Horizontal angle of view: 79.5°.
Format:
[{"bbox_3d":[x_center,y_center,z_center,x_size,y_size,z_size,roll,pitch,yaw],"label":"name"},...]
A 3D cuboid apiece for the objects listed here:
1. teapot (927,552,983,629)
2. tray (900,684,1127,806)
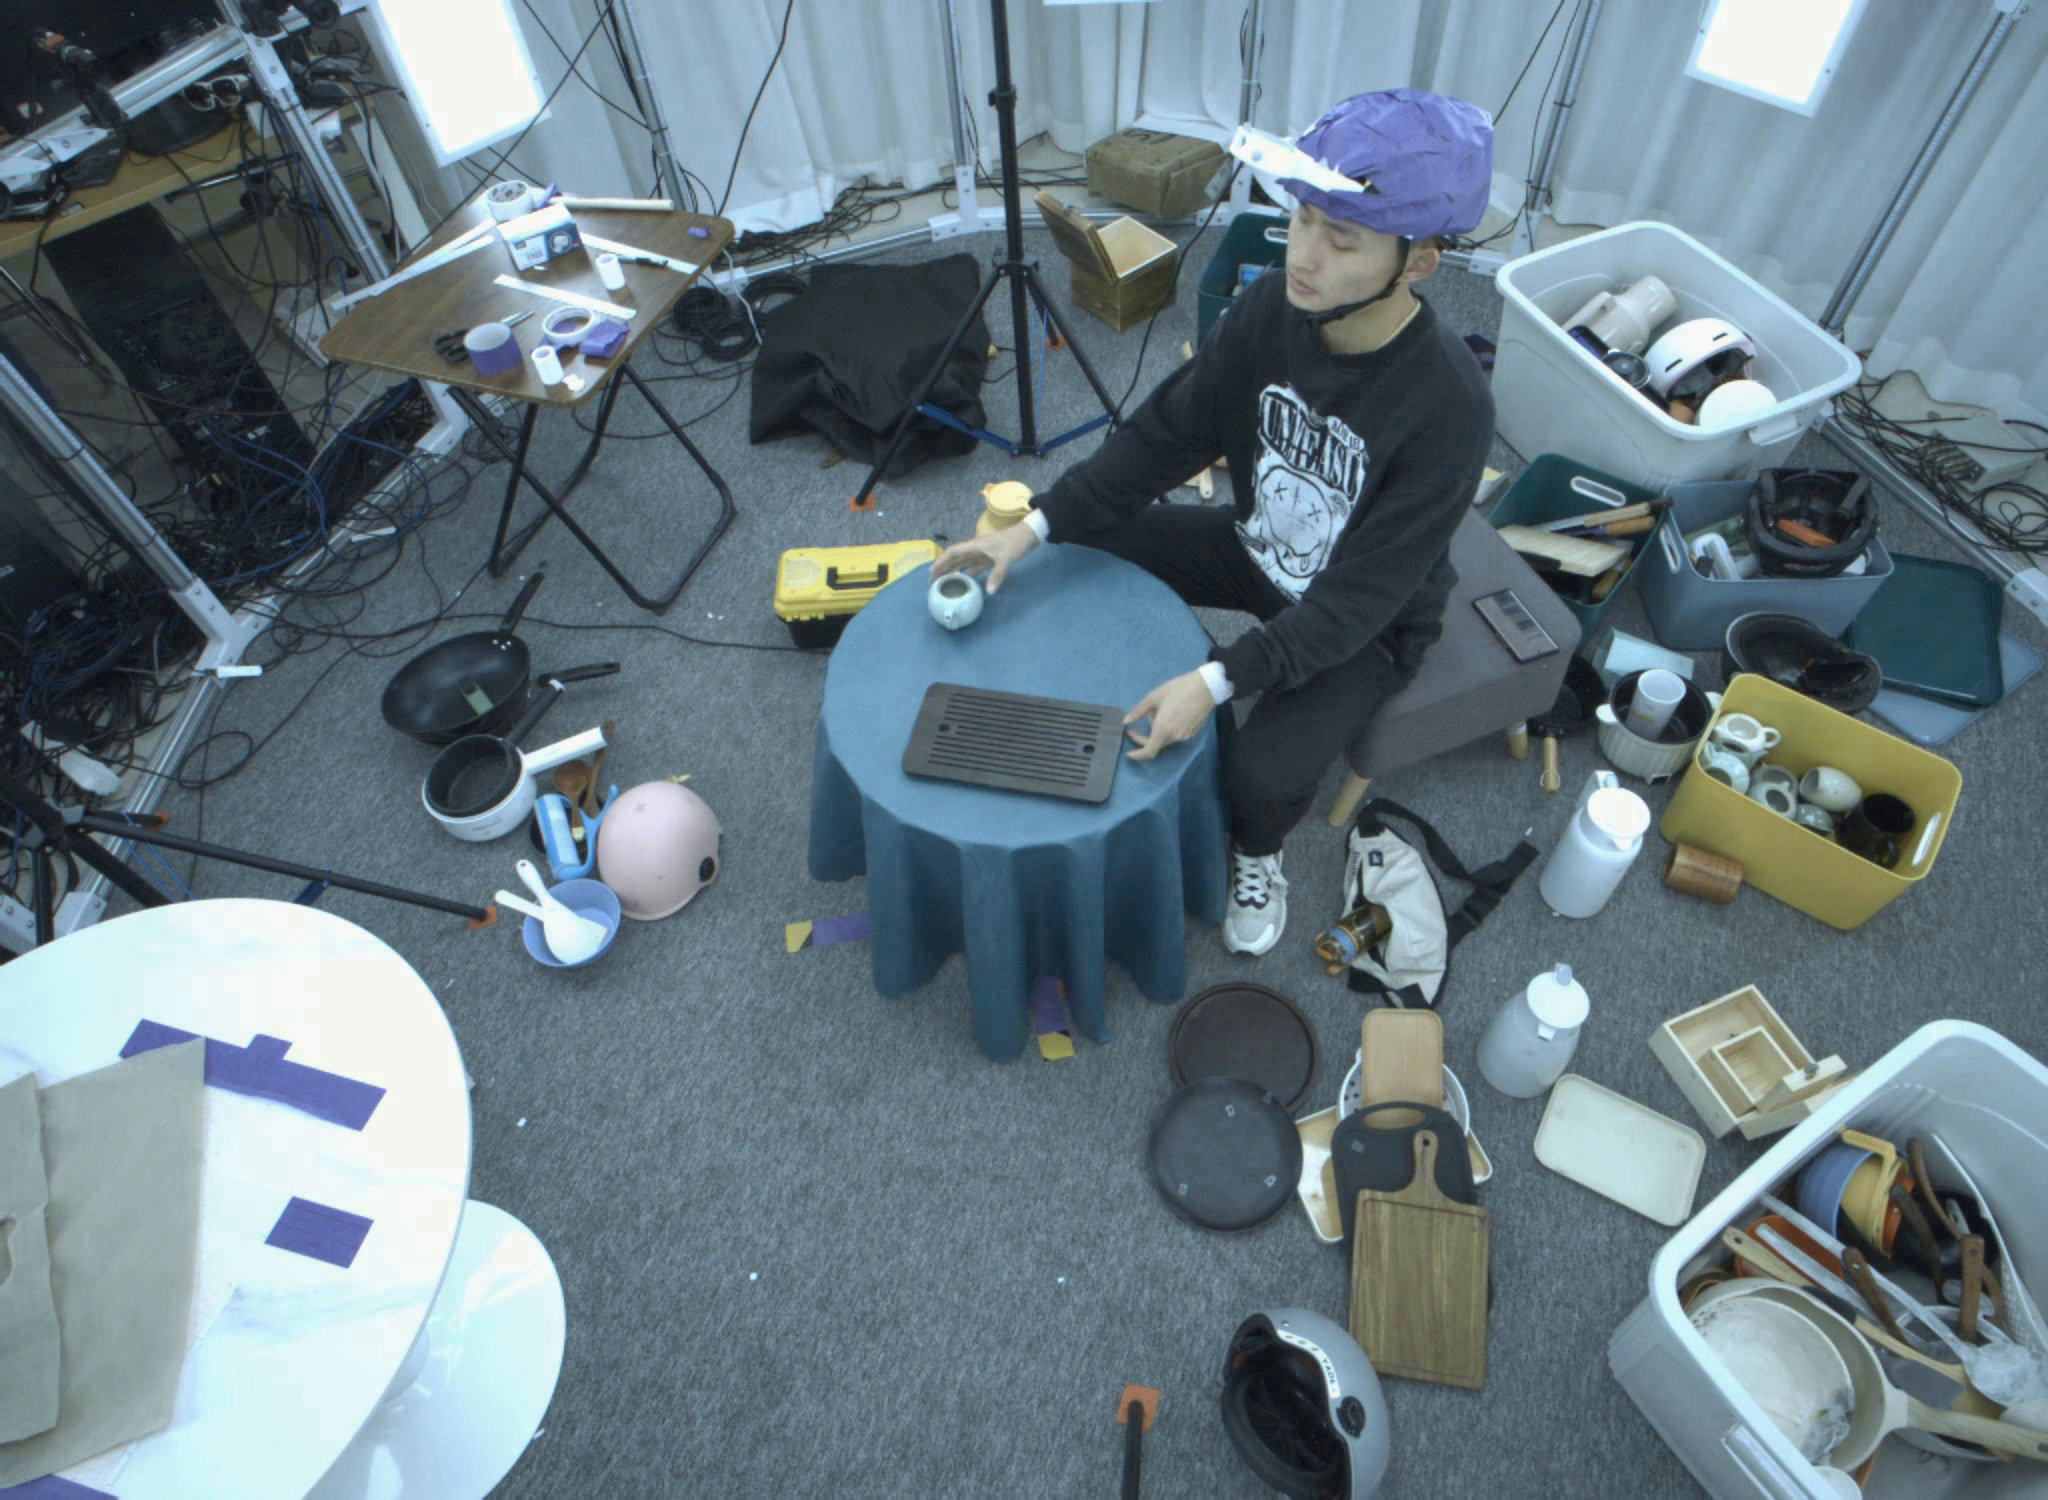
[{"bbox_3d":[-0.108,-0.235,1.910,0.088,0.075,0.143,4,56,6],"label":"teapot"},{"bbox_3d":[-0.013,-0.008,1.778,0.304,0.019,0.169,9,55,8],"label":"tray"}]
